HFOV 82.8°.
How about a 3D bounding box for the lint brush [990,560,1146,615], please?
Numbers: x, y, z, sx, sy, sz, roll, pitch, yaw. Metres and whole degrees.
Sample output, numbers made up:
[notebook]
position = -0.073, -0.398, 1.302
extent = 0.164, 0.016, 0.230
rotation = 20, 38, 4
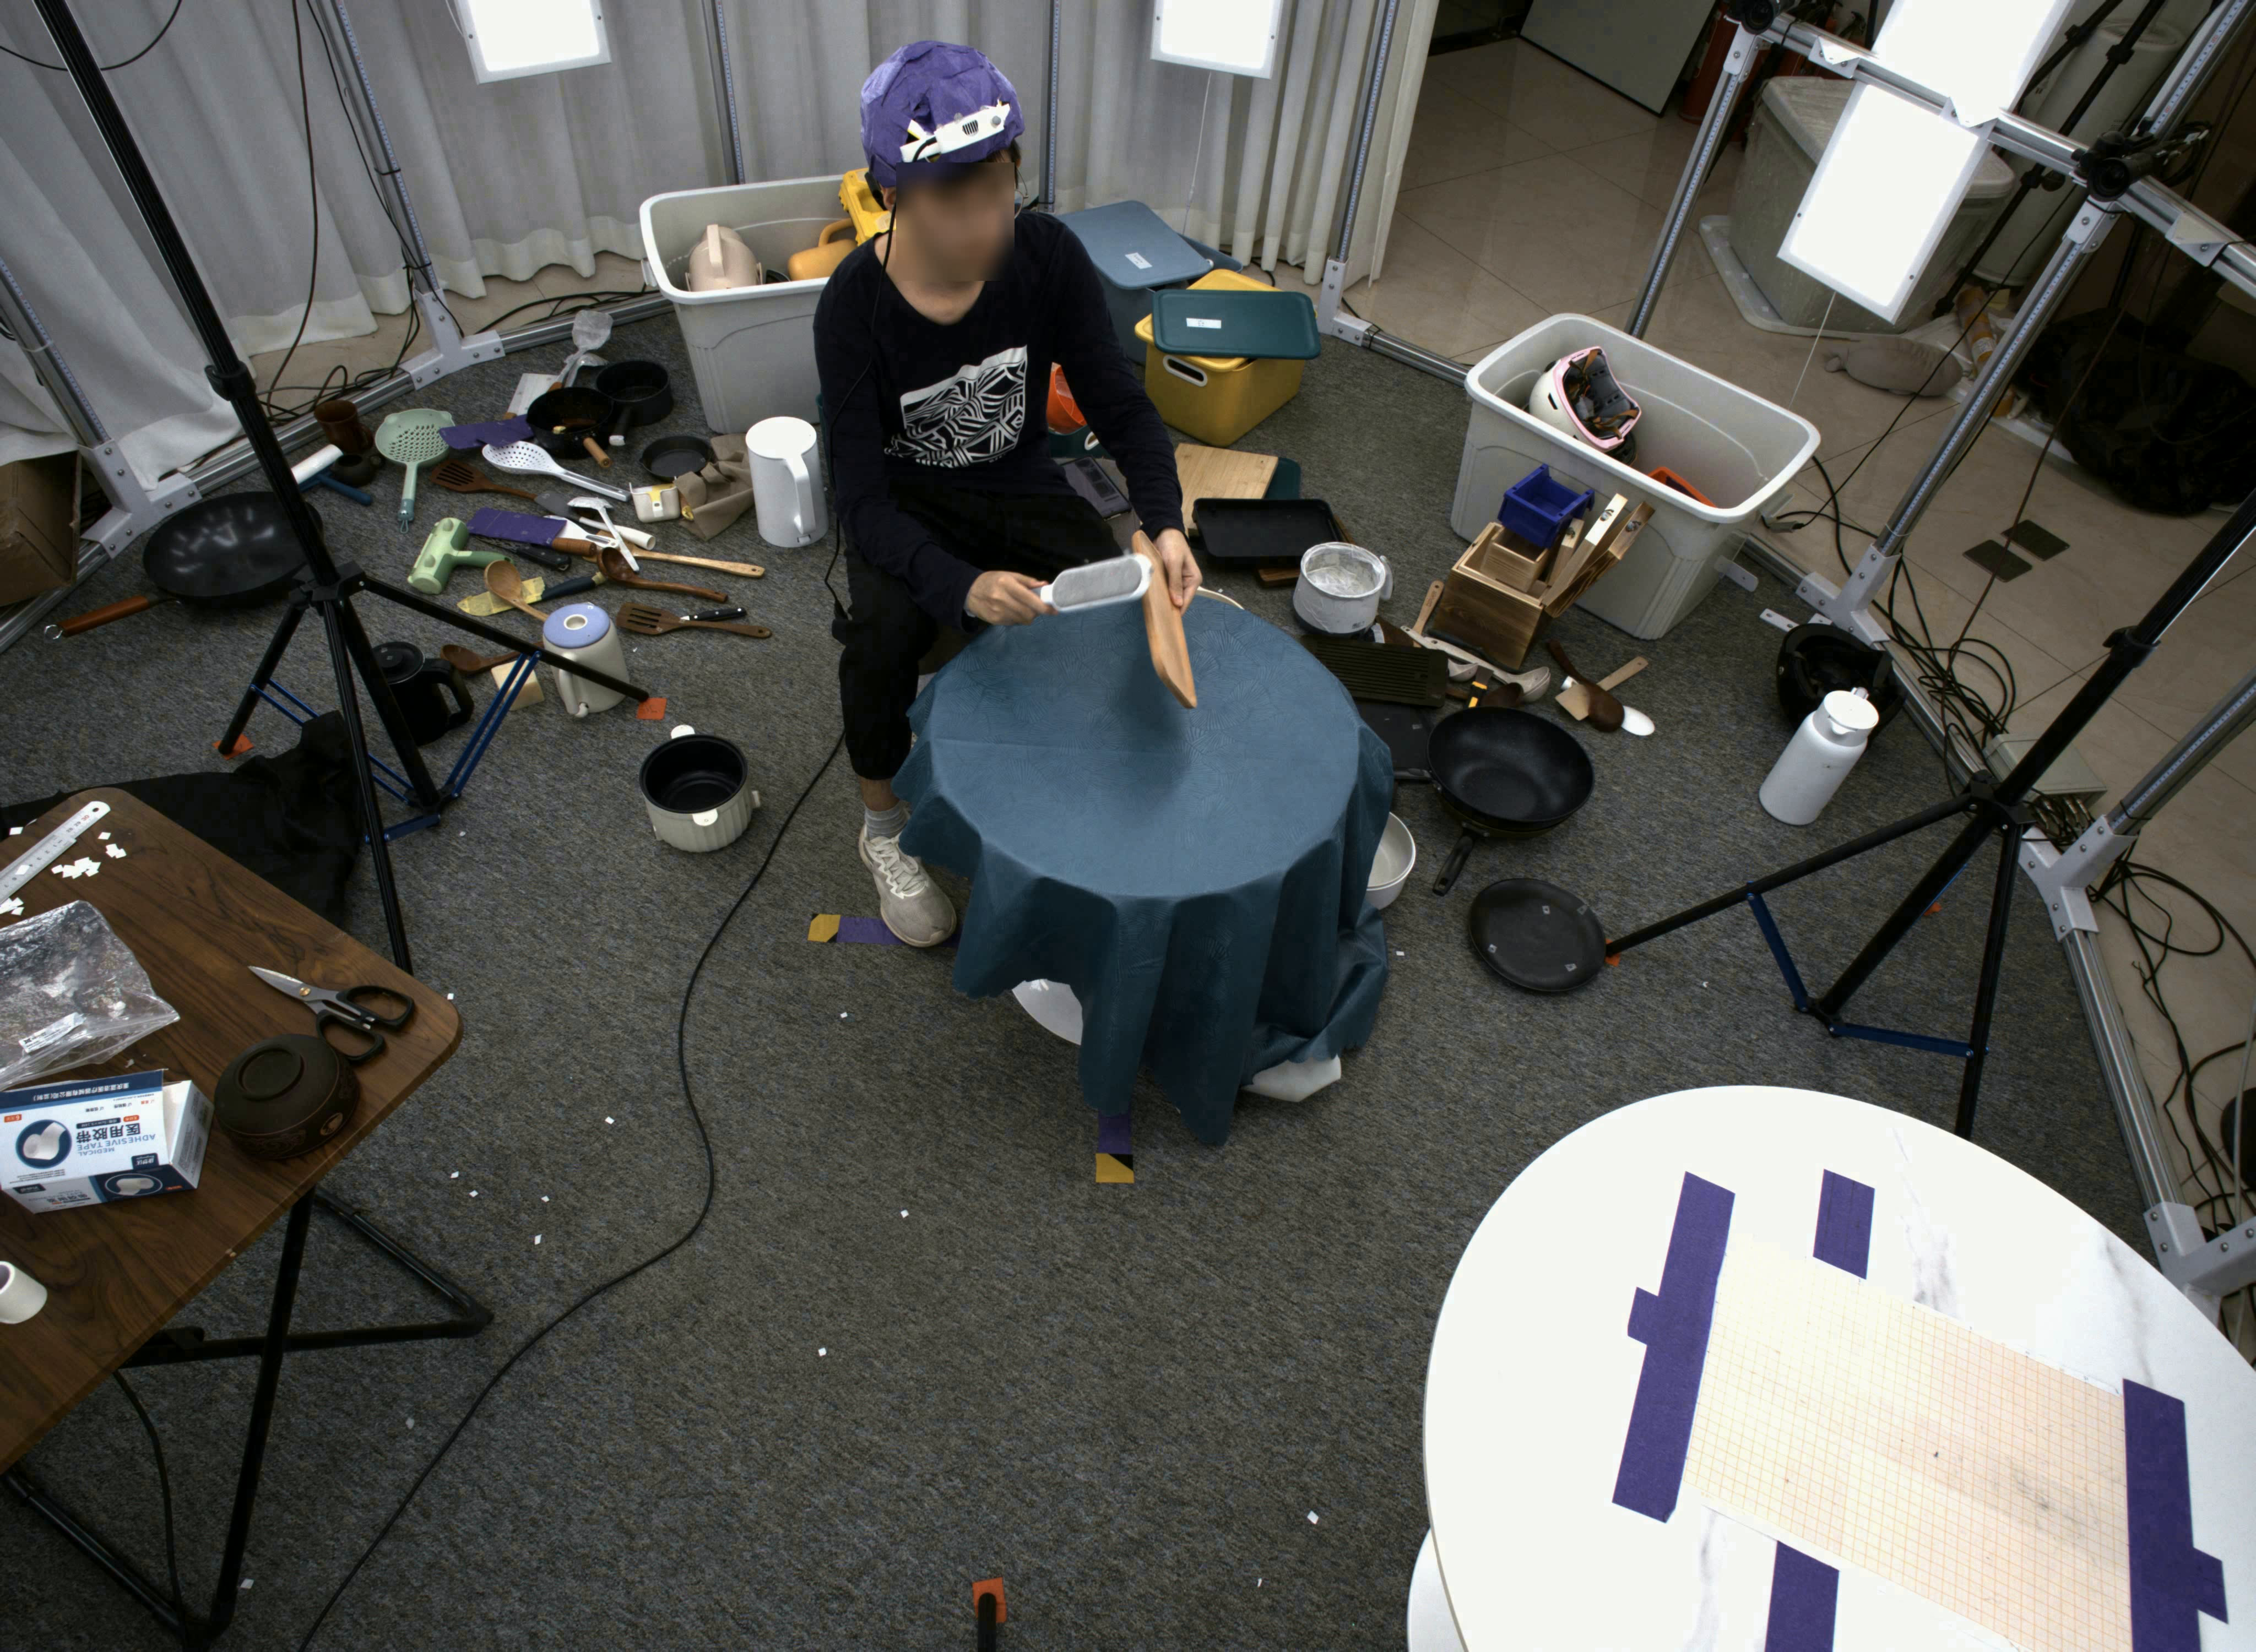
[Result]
[lint brush]
position = -0.086, -0.313, 1.727
extent = 0.021, 0.060, 0.310
rotation = 4, -2, -43

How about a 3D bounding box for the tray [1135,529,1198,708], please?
[tray]
position = 0.051, -0.283, 1.751
extent = 0.023, 0.128, 0.256
rotation = -18, 56, 16
